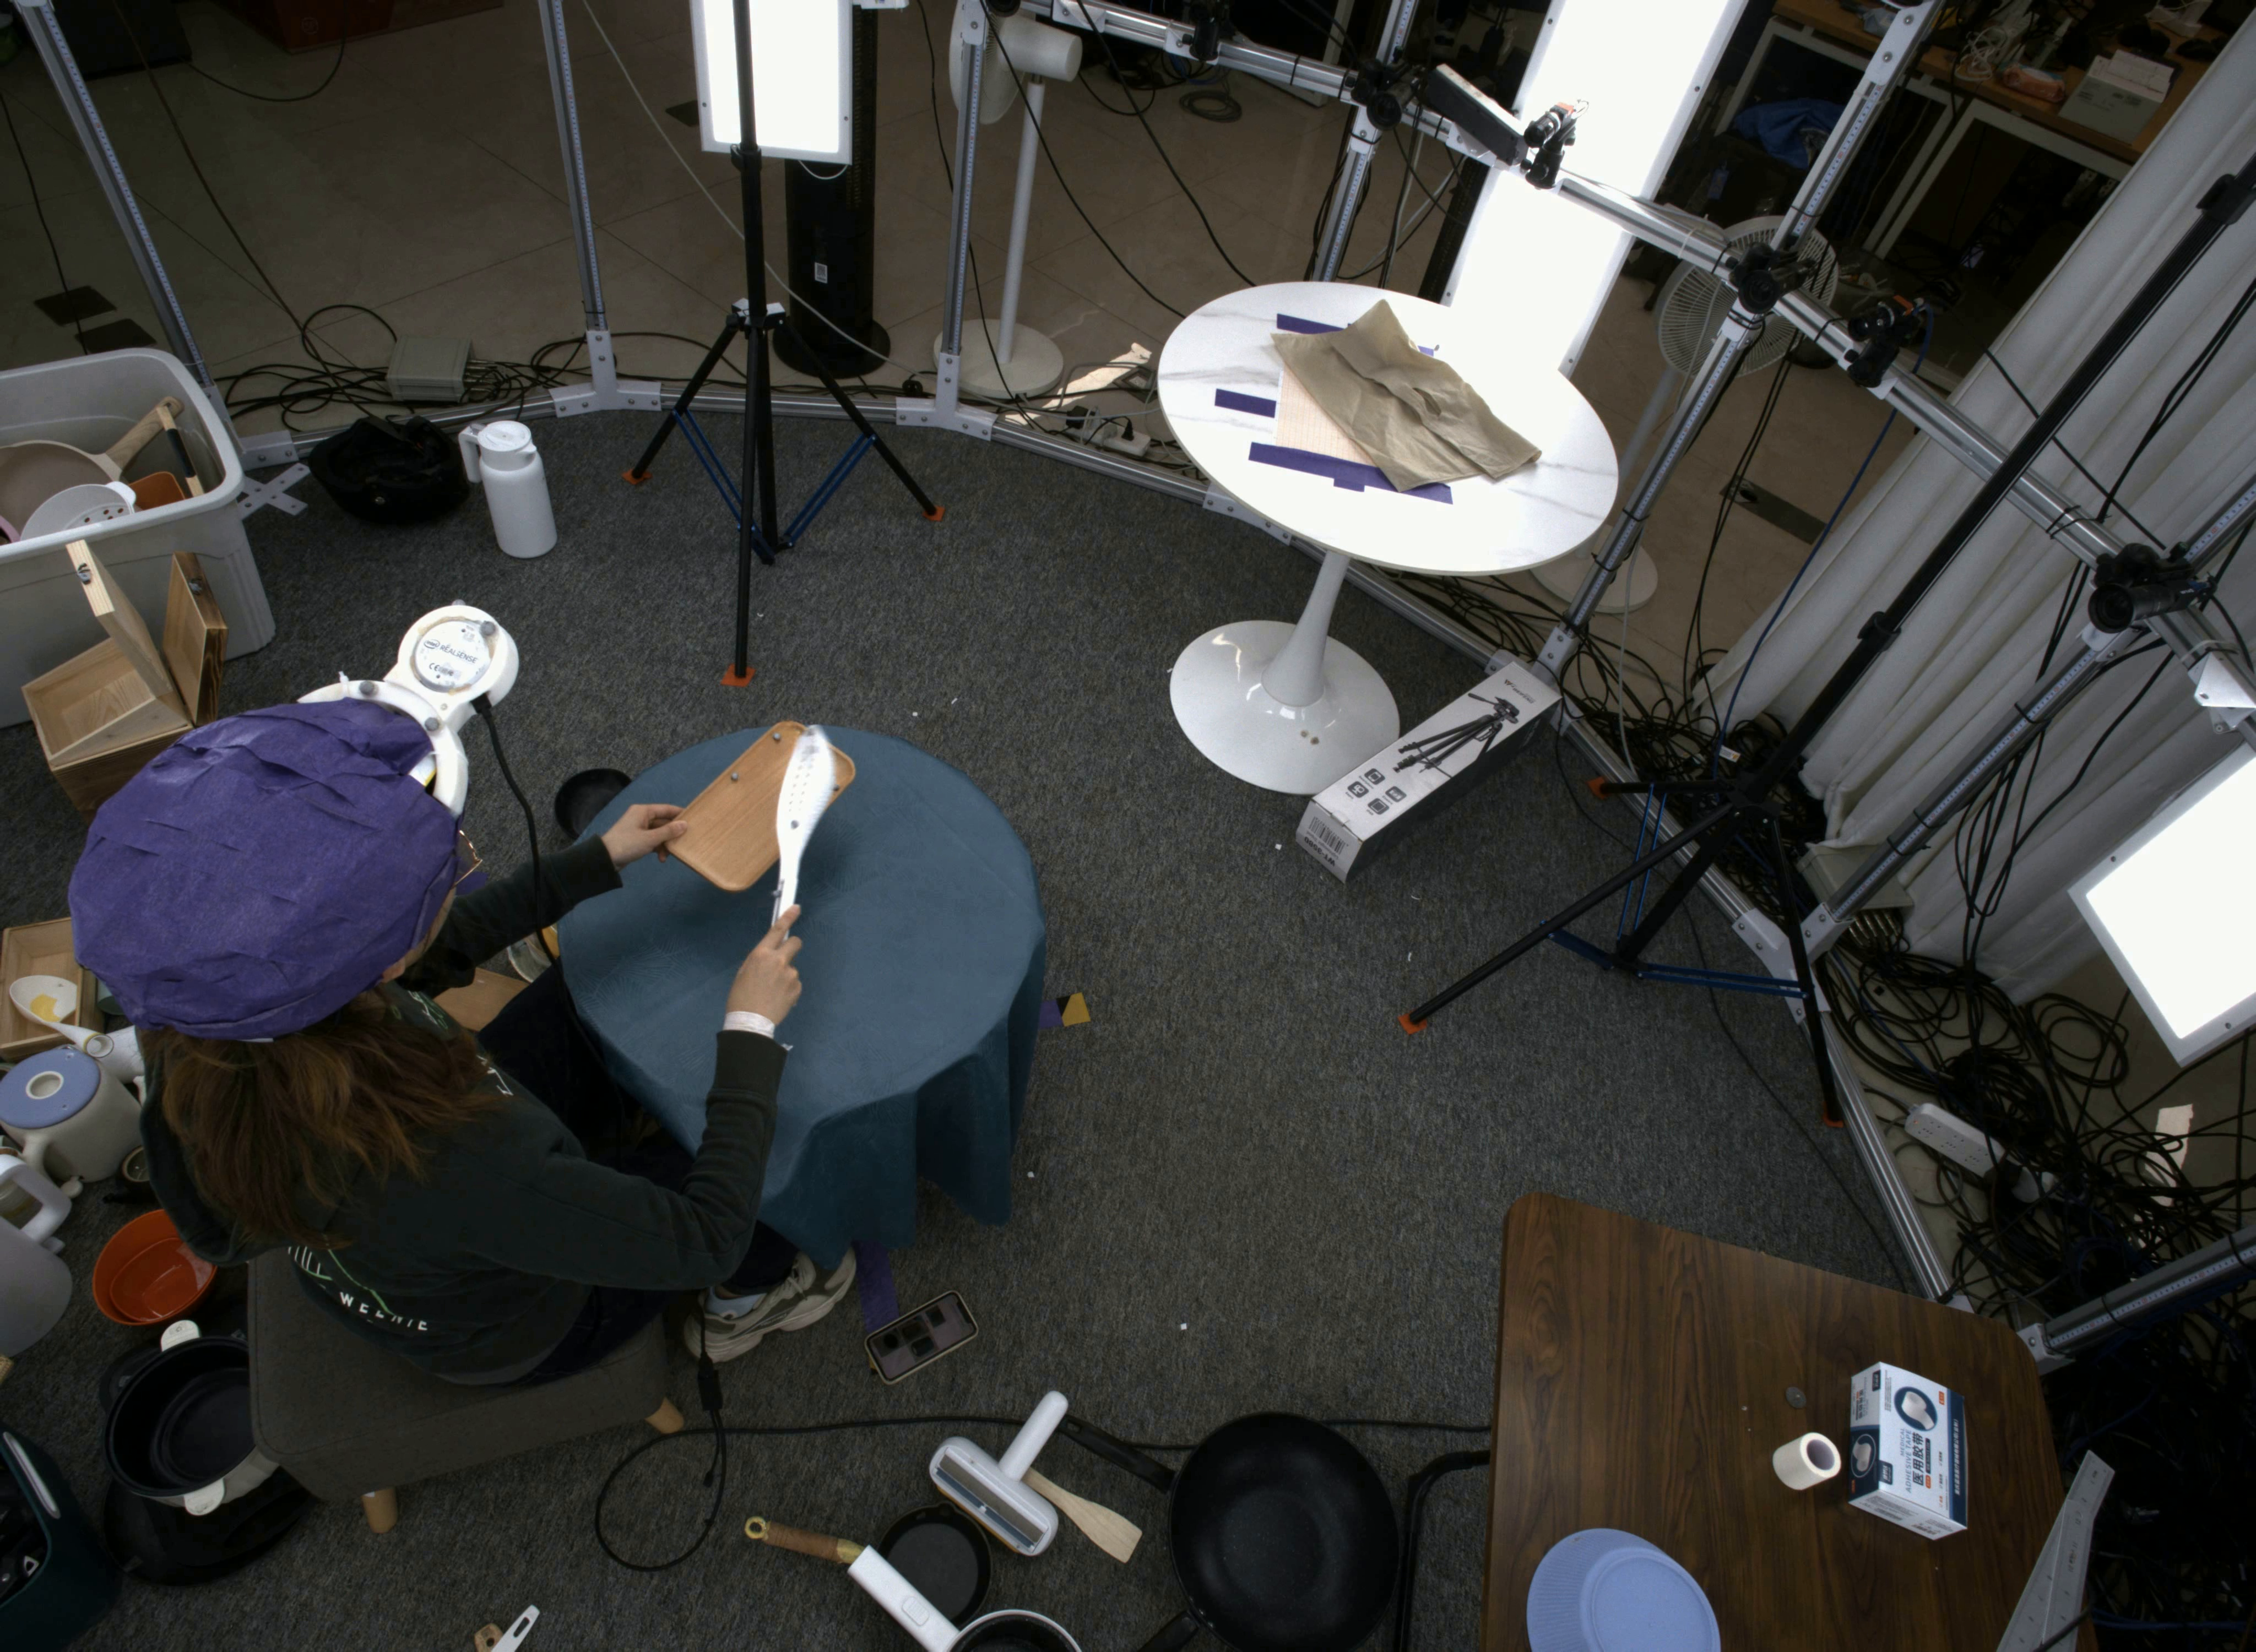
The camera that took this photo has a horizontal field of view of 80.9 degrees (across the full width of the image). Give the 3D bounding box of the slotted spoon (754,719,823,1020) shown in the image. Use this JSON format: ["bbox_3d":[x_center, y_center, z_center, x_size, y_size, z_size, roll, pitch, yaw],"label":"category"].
[{"bbox_3d":[-0.386,0.044,1.447,0.046,0.135,0.346,16,62,-20],"label":"slotted spoon"}]

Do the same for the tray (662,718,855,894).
[{"bbox_3d":[-0.452,-0.028,1.594,0.129,0.023,0.250,34,55,4],"label":"tray"}]
